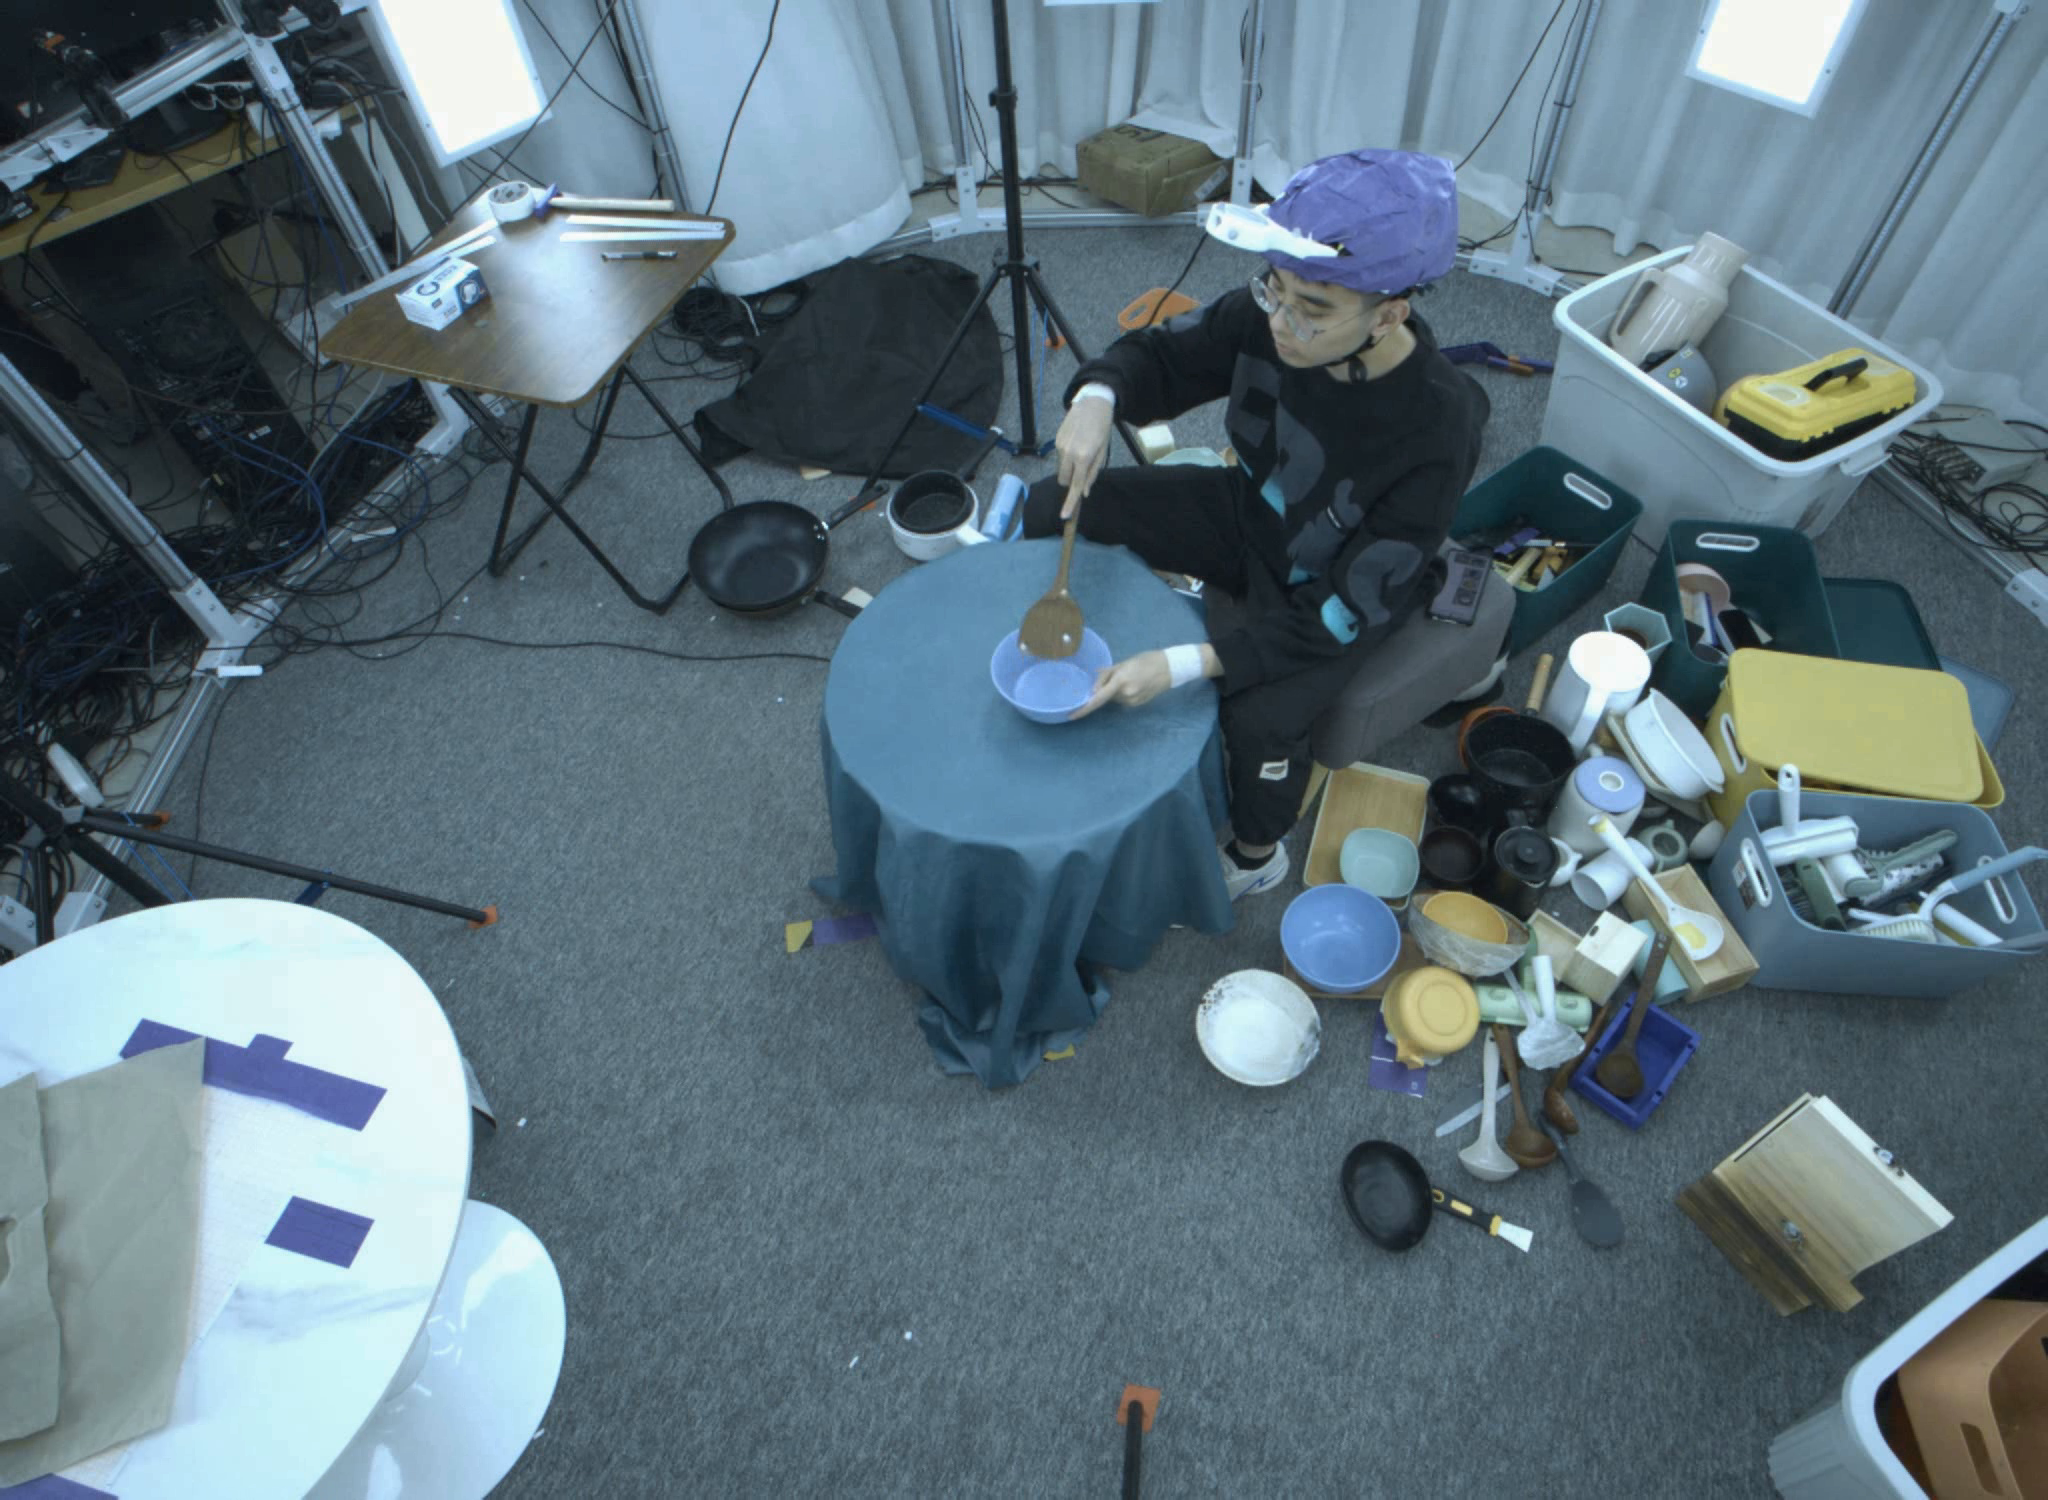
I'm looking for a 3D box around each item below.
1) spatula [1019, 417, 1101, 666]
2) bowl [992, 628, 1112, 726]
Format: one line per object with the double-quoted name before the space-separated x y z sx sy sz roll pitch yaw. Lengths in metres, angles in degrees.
"spatula" 0.068 -0.307 1.771 0.095 0.016 0.385 8 83 14
"bowl" 0.042 -0.100 1.815 0.176 0.071 0.174 0 53 1
